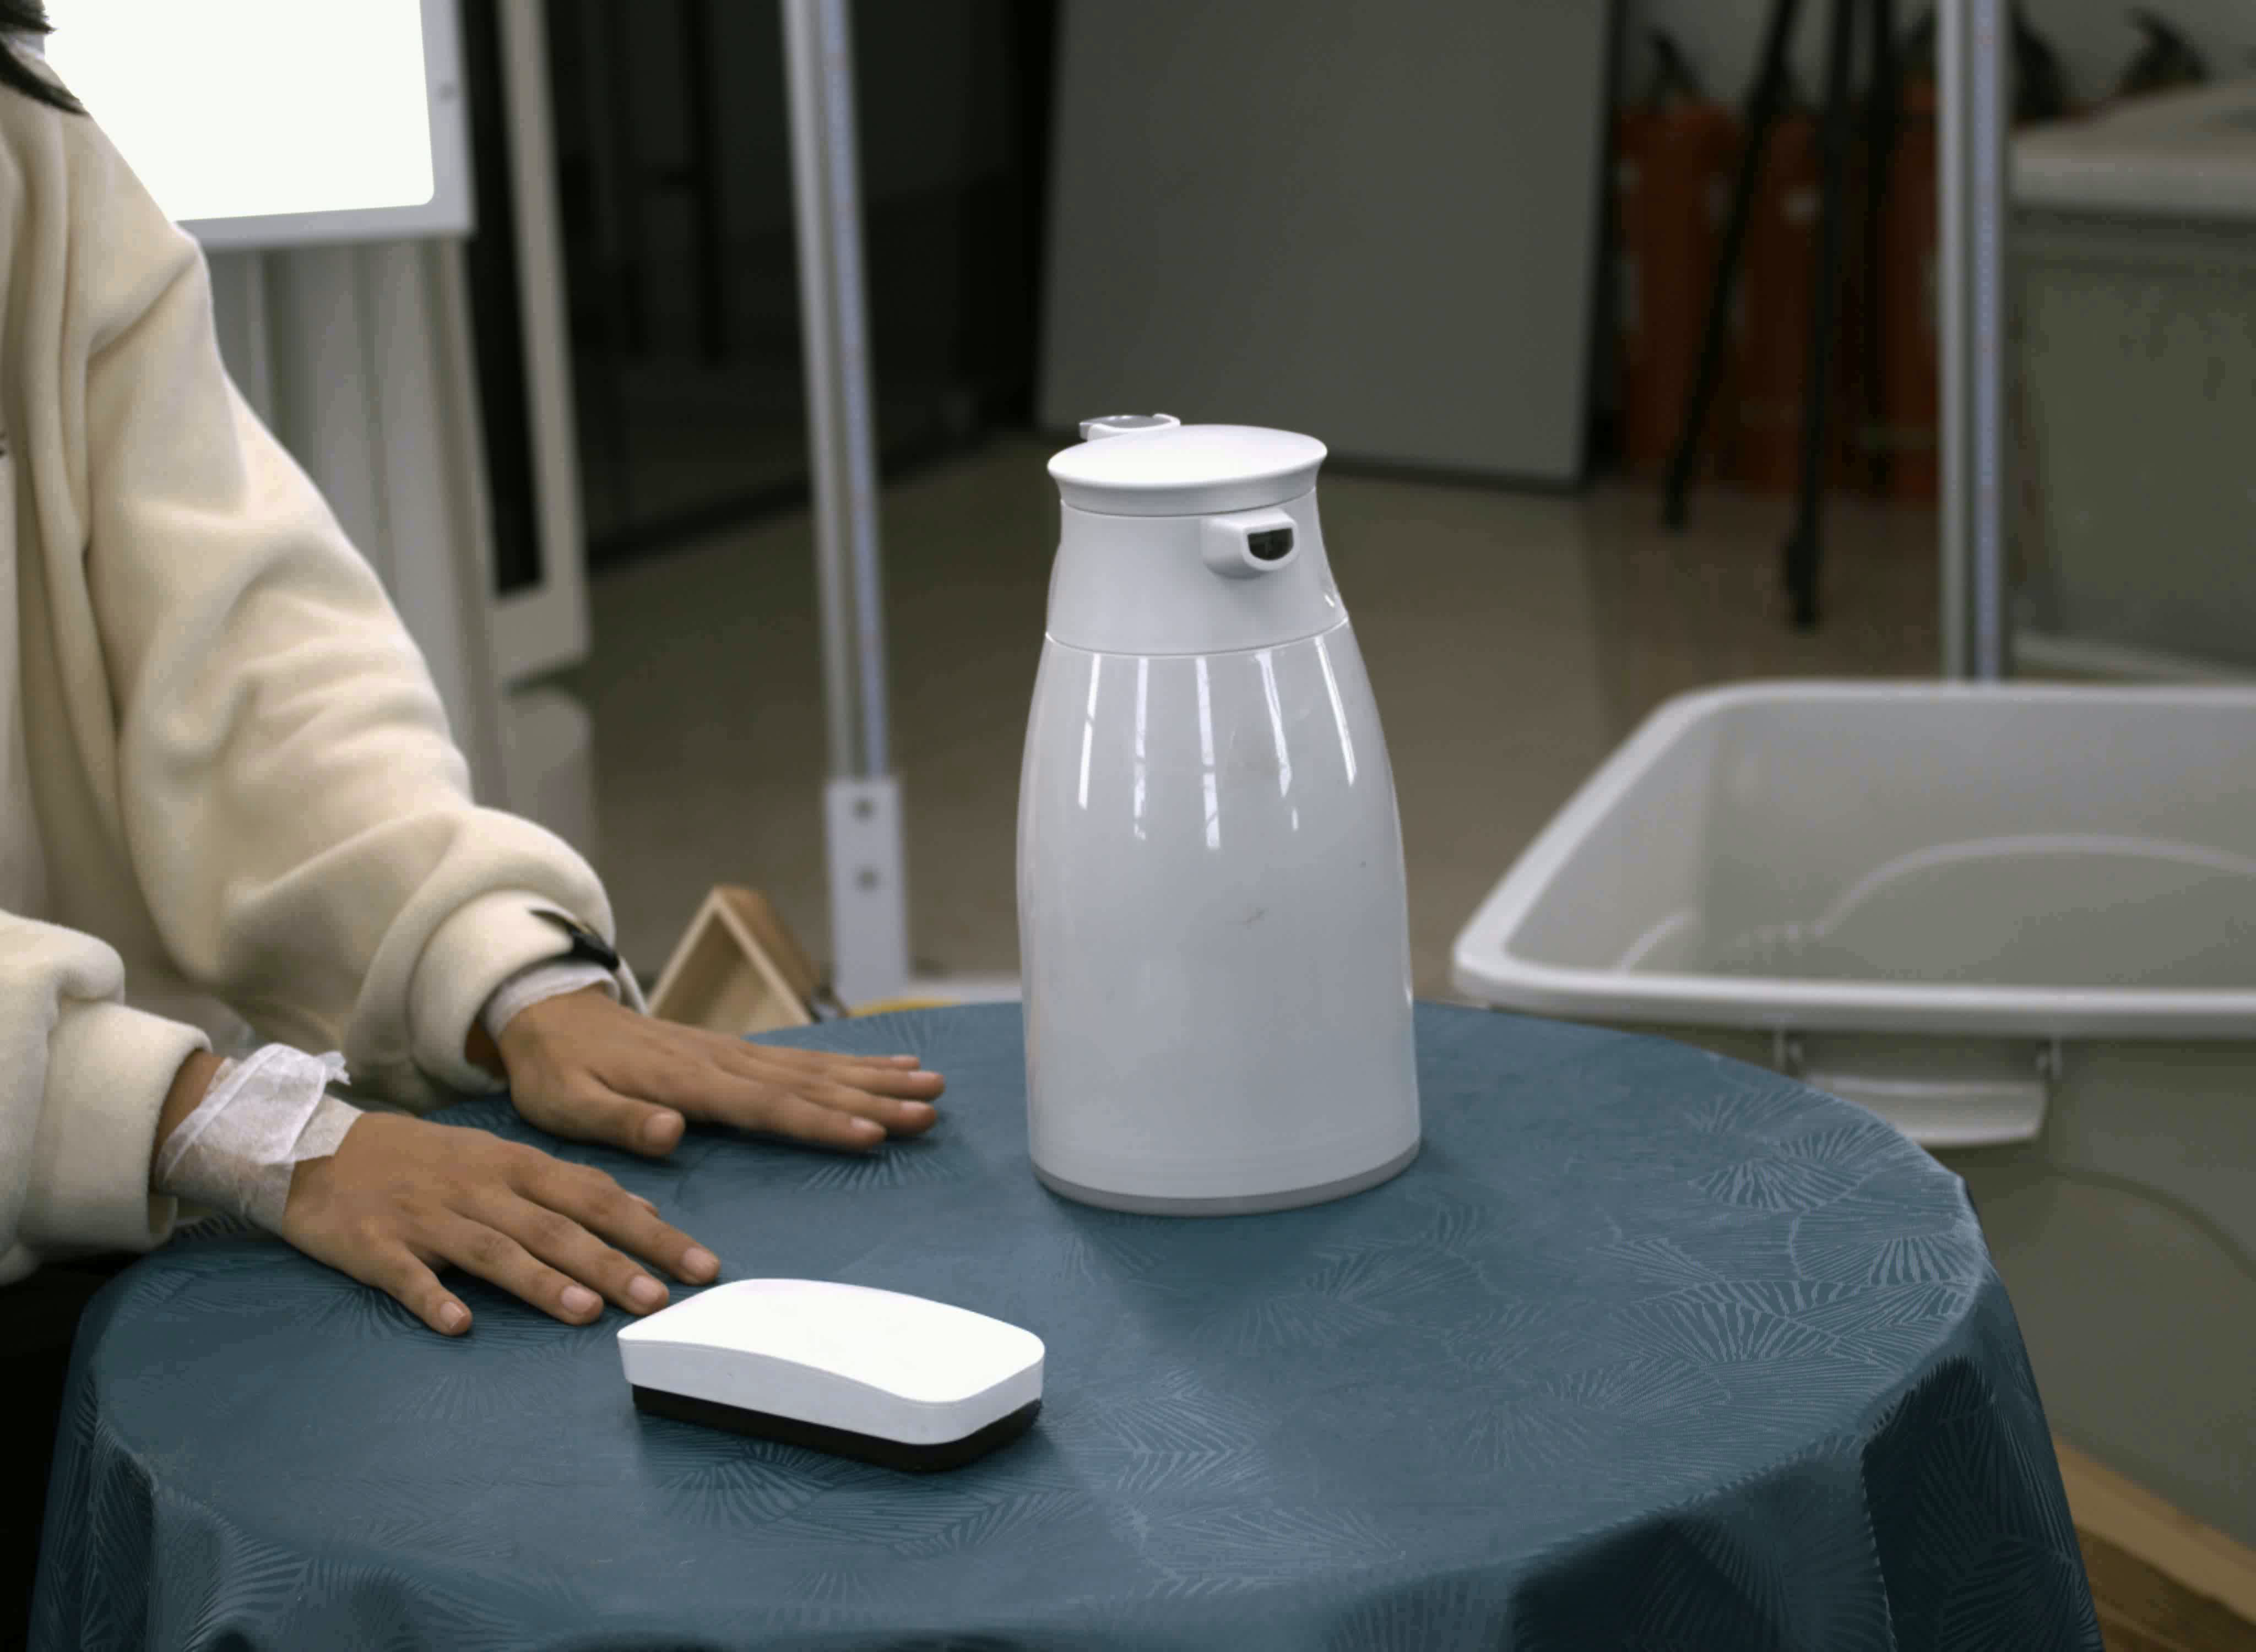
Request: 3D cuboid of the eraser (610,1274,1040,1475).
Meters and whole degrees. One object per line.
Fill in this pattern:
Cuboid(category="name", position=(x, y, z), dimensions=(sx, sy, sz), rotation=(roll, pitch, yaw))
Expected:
Cuboid(category="eraser", position=(-0.088, 0.158, 1.579), dimensions=(0.132, 0.035, 0.062), rotation=(8, 15, 38))

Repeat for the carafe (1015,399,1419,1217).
Cuboid(category="carafe", position=(0.016, -0.014, 1.789), dimensions=(0.130, 0.251, 0.169), rotation=(-10, 14, -23))
